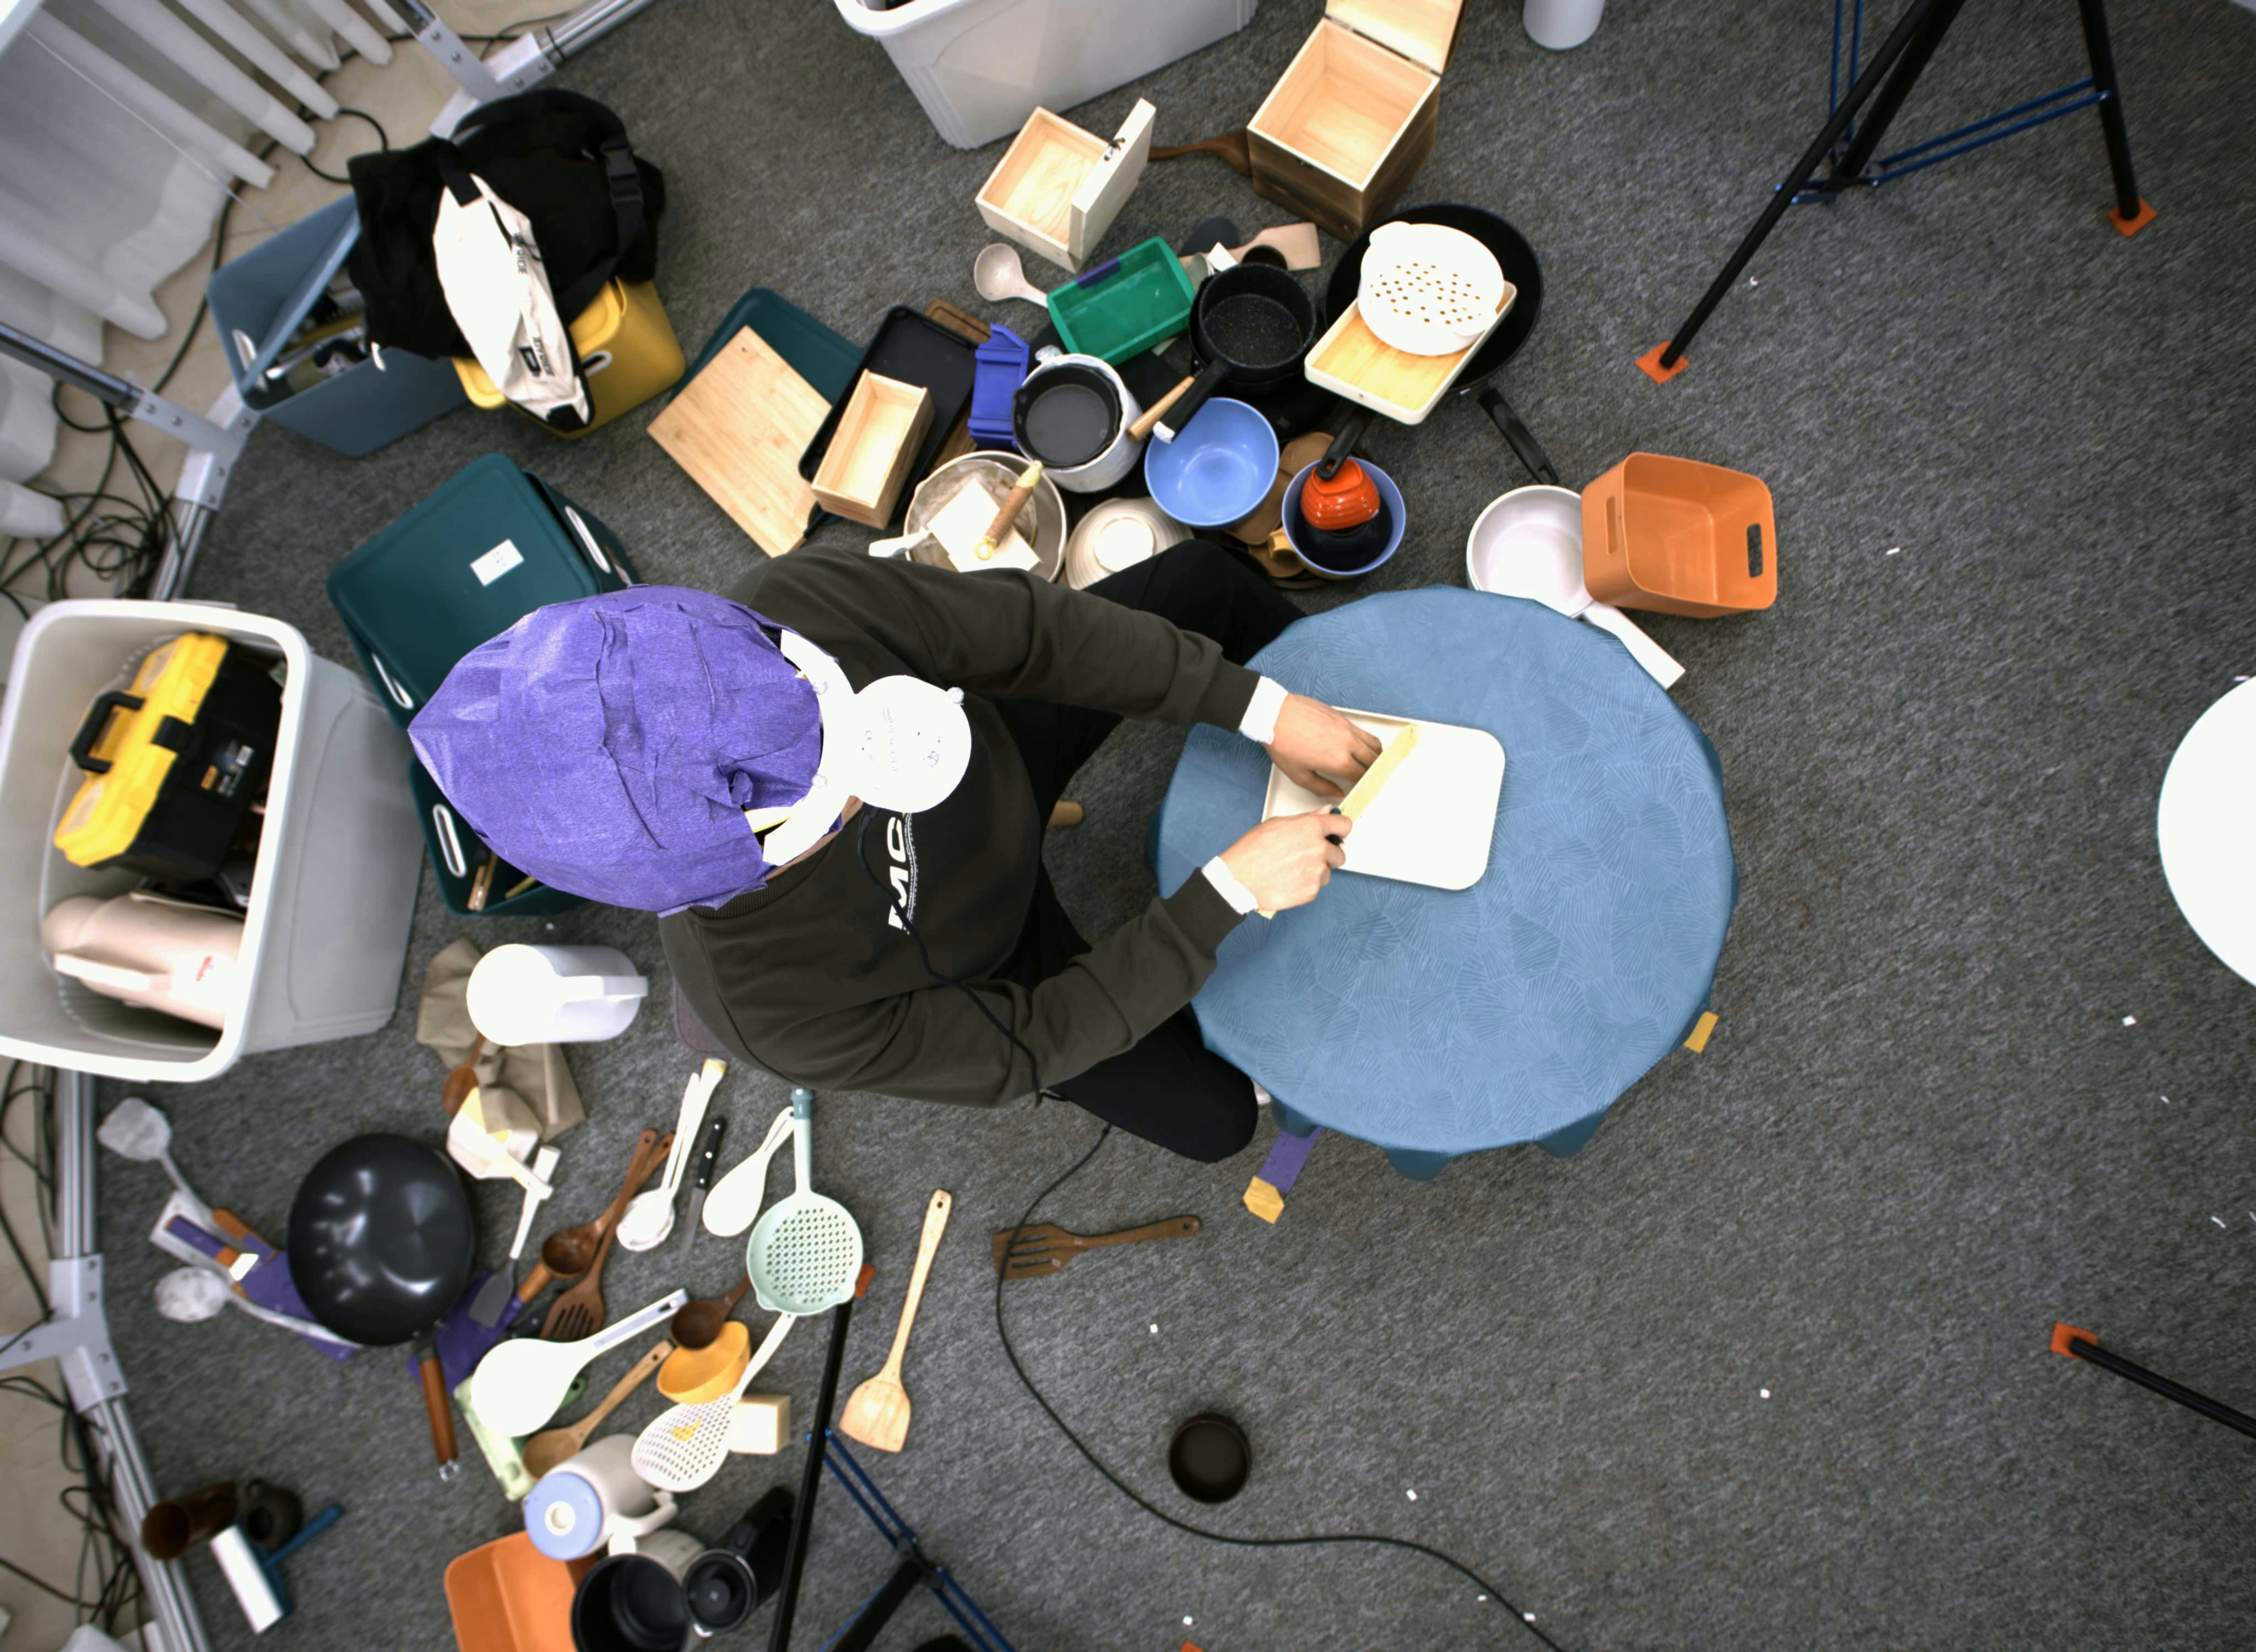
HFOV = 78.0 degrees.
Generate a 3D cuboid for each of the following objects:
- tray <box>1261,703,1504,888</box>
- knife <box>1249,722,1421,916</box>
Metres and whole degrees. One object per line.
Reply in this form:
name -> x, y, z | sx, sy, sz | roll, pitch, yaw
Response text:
tray -> 0.268, -0.034, 1.457 | 0.240, 0.017, 0.171 | 10, 89, 11
knife -> 0.215, -0.009, 1.390 | 0.027, 0.083, 0.285 | 34, 67, 25
